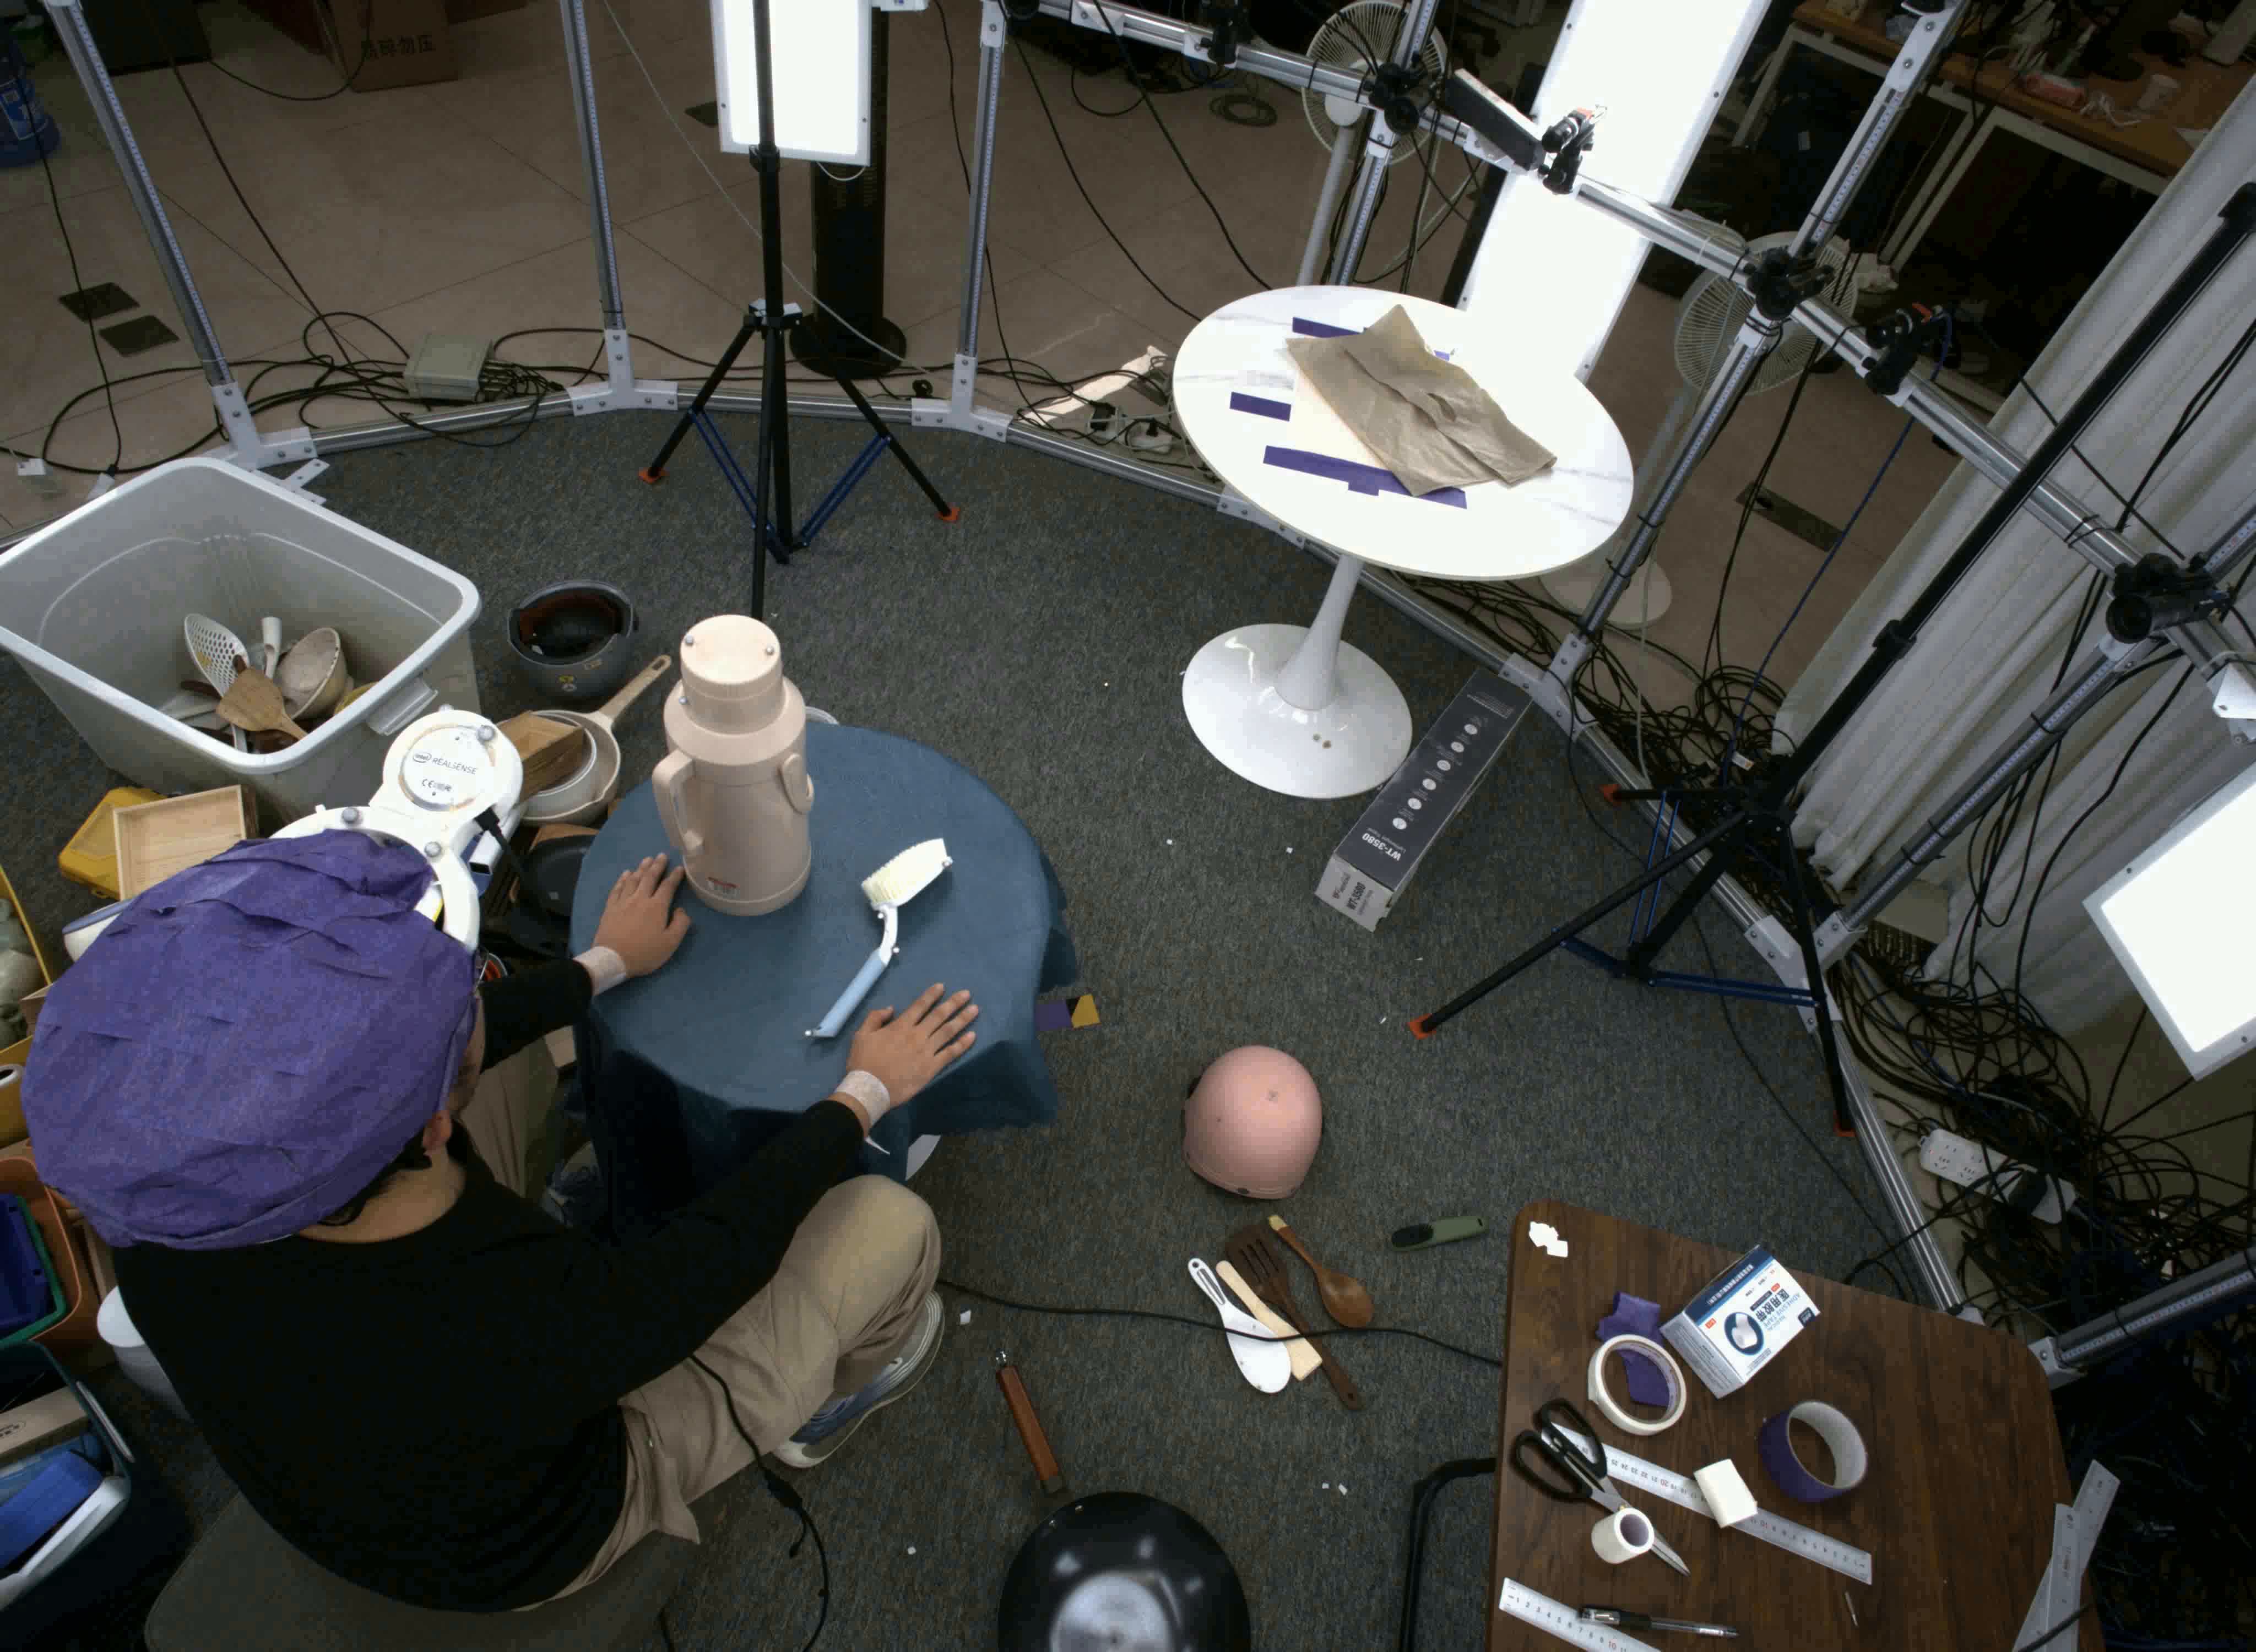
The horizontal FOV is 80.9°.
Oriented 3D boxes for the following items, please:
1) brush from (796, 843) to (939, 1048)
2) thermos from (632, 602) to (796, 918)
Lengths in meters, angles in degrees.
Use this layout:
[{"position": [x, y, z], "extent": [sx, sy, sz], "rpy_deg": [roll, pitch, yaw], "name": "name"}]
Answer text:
[{"position": [-0.332, 0.126, 1.597], "extent": [0.084, 0.084, 0.323], "rpy_deg": [28, 51, 3], "name": "brush"}, {"position": [-0.484, -0.064, 1.494], "extent": [0.172, 0.414, 0.206], "rpy_deg": [32, 52, 12], "name": "thermos"}]
